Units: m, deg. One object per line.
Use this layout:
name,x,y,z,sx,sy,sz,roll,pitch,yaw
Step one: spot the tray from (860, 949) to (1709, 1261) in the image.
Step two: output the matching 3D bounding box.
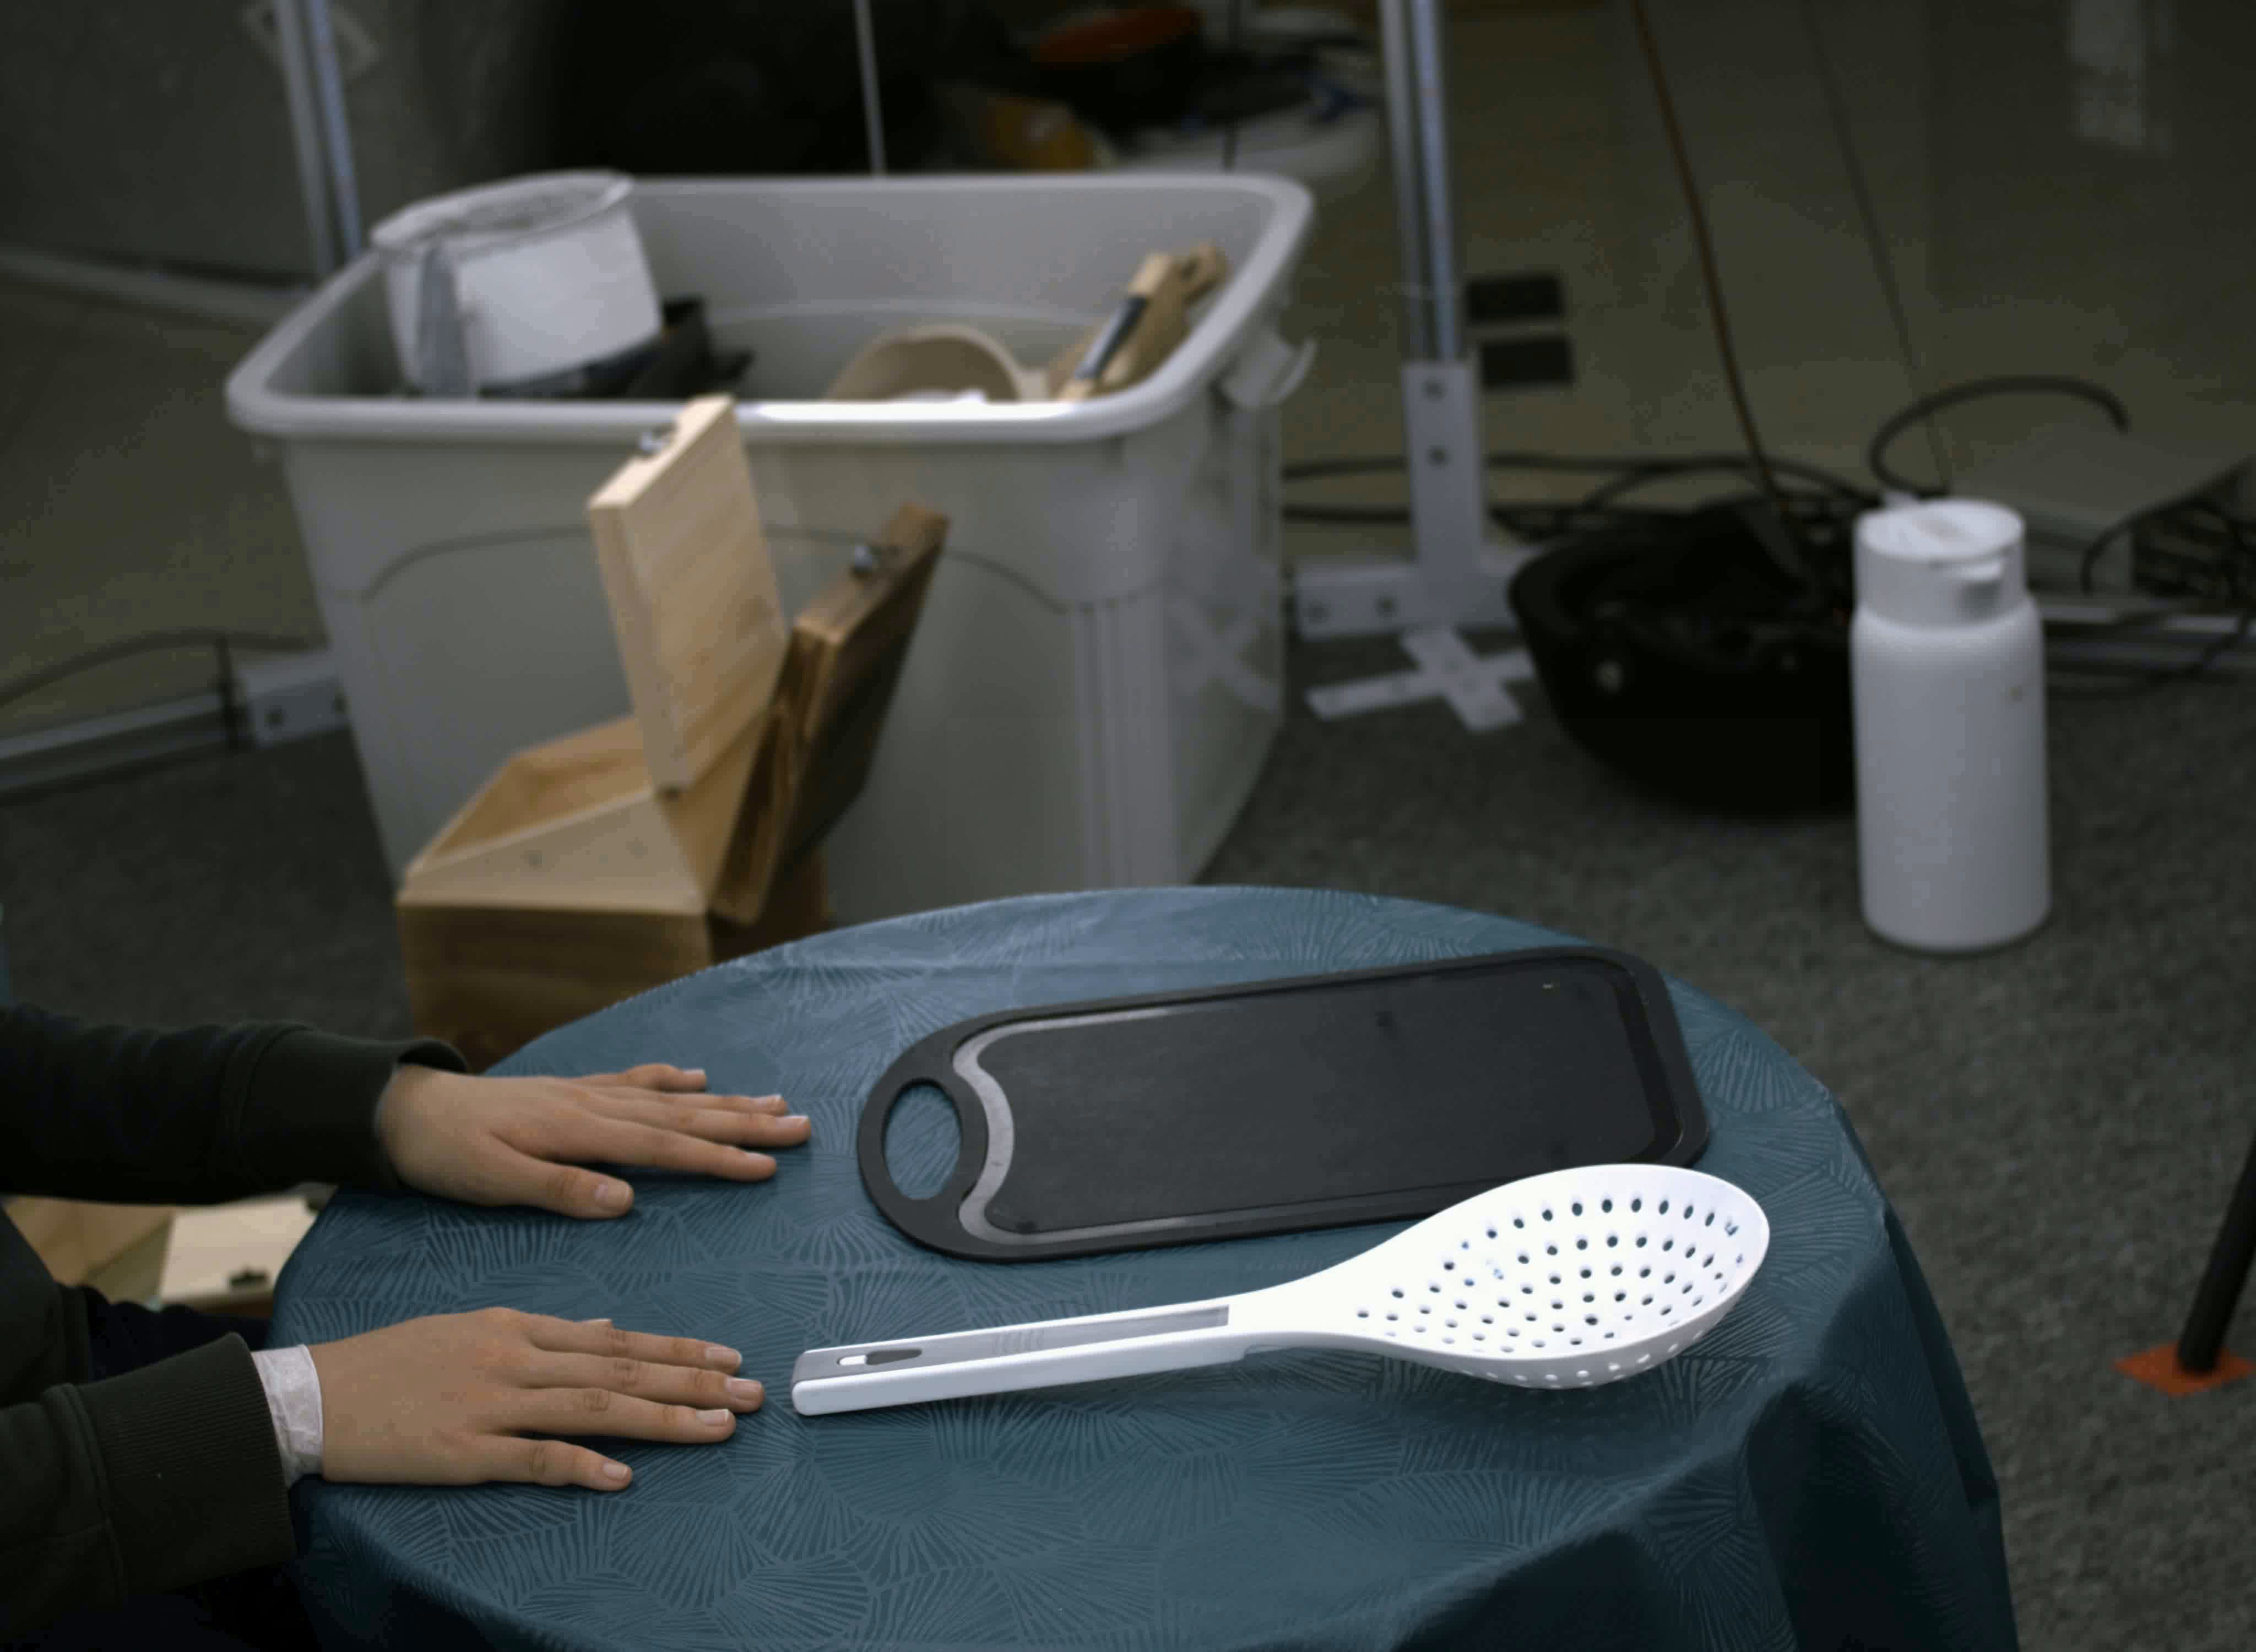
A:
tray,0.057,0.106,2.202,0.325,0.010,0.208,-7,24,1

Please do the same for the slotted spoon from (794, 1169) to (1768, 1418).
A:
slotted spoon,0.052,0.175,2.008,0.349,0.046,0.134,-4,23,6
